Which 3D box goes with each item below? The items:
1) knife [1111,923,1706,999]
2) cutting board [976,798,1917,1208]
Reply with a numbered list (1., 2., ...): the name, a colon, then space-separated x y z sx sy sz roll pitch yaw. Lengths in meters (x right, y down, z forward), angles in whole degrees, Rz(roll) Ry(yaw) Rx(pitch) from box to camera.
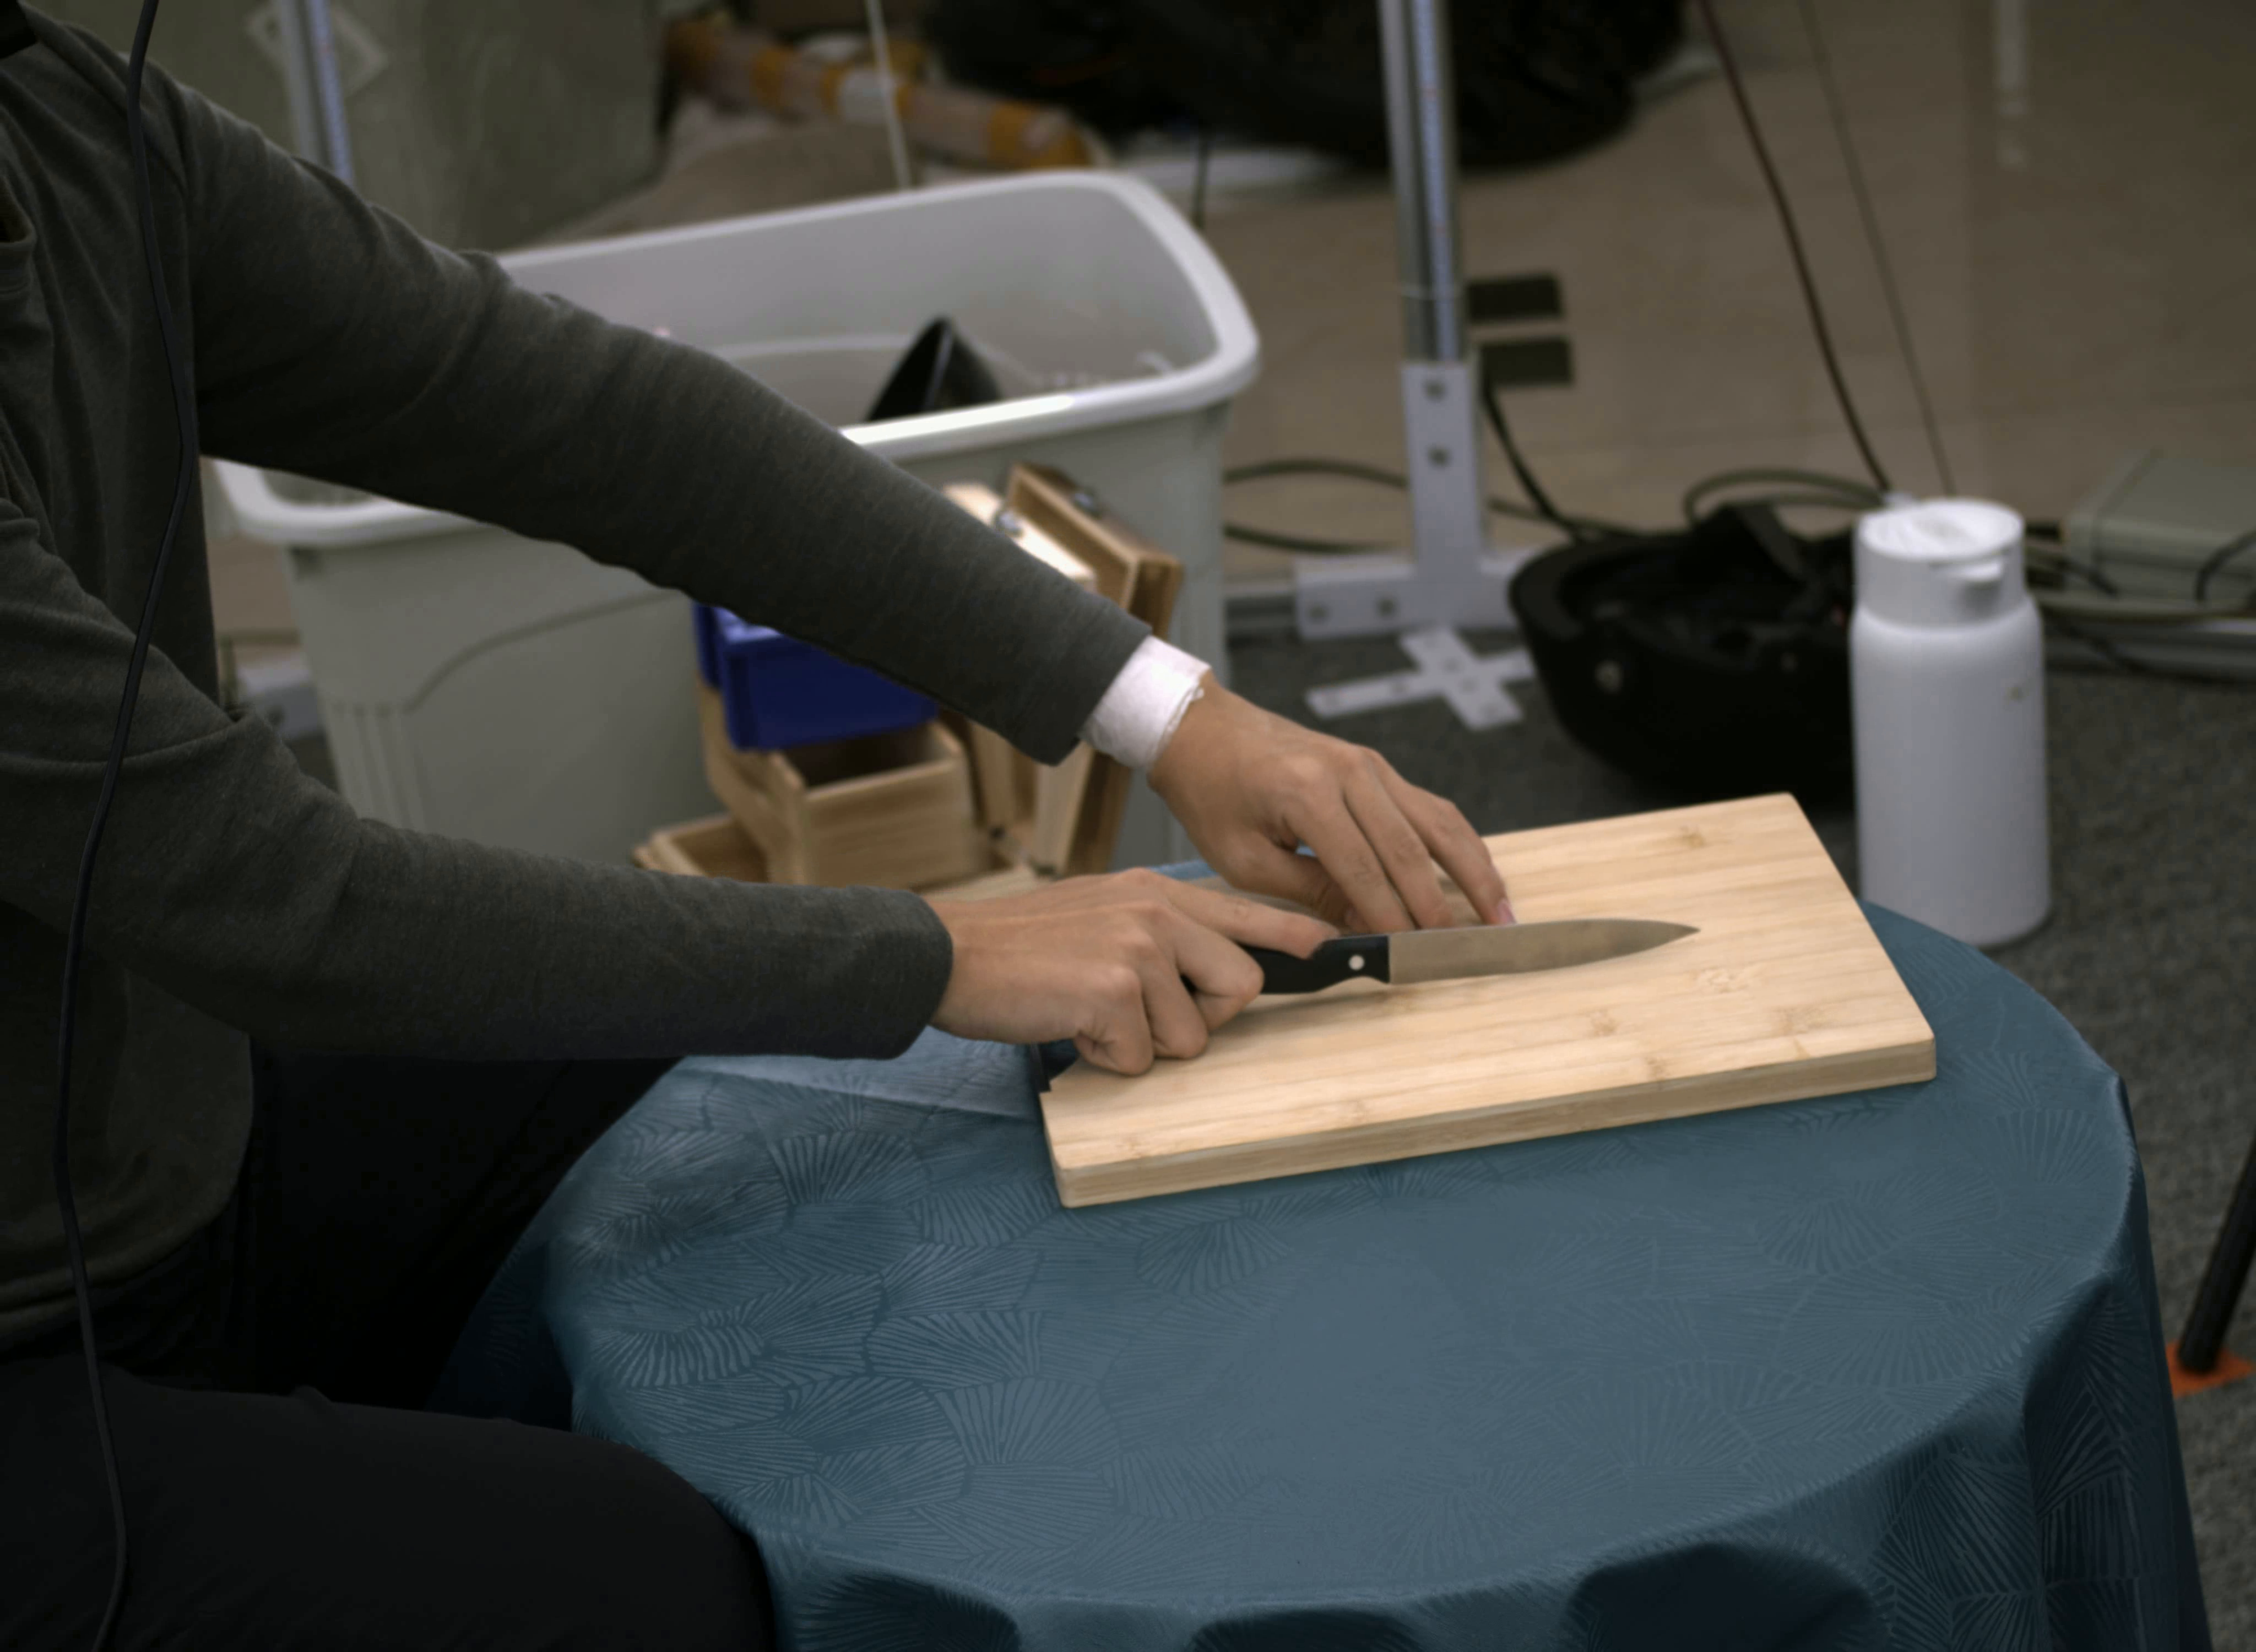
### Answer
1. knife: 0.111 0.050 2.234 0.238 0.025 0.016 -3 26 -6
2. cutting board: 0.122 0.067 2.260 0.348 0.024 0.247 -9 24 -4
